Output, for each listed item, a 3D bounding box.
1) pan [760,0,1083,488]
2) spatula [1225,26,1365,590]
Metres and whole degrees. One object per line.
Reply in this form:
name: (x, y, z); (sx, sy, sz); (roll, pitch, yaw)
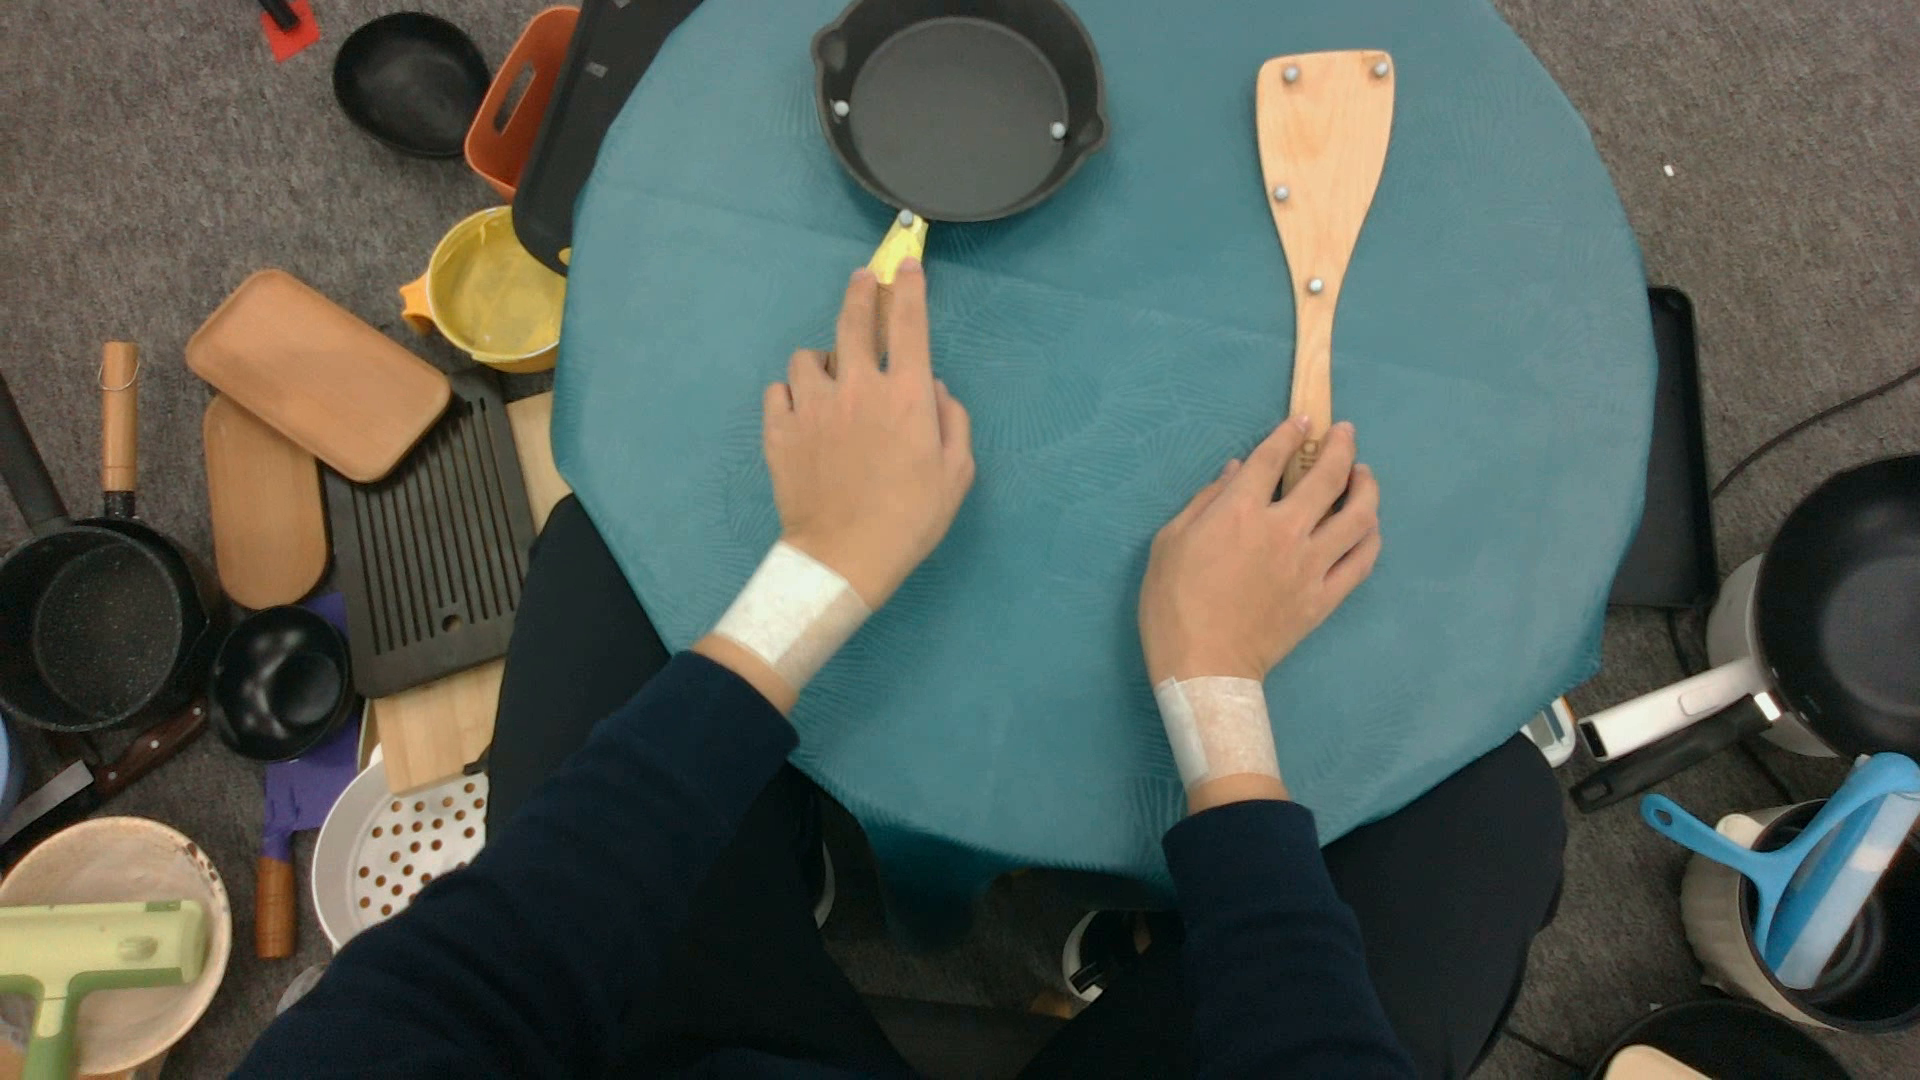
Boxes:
pan: (-0.042, -0.174, 0.736); (0.169, 0.049, 0.325); (19, 75, 2)
spatula: (0.181, -0.134, 0.752); (0.080, 0.016, 0.328); (4, 77, 0)
